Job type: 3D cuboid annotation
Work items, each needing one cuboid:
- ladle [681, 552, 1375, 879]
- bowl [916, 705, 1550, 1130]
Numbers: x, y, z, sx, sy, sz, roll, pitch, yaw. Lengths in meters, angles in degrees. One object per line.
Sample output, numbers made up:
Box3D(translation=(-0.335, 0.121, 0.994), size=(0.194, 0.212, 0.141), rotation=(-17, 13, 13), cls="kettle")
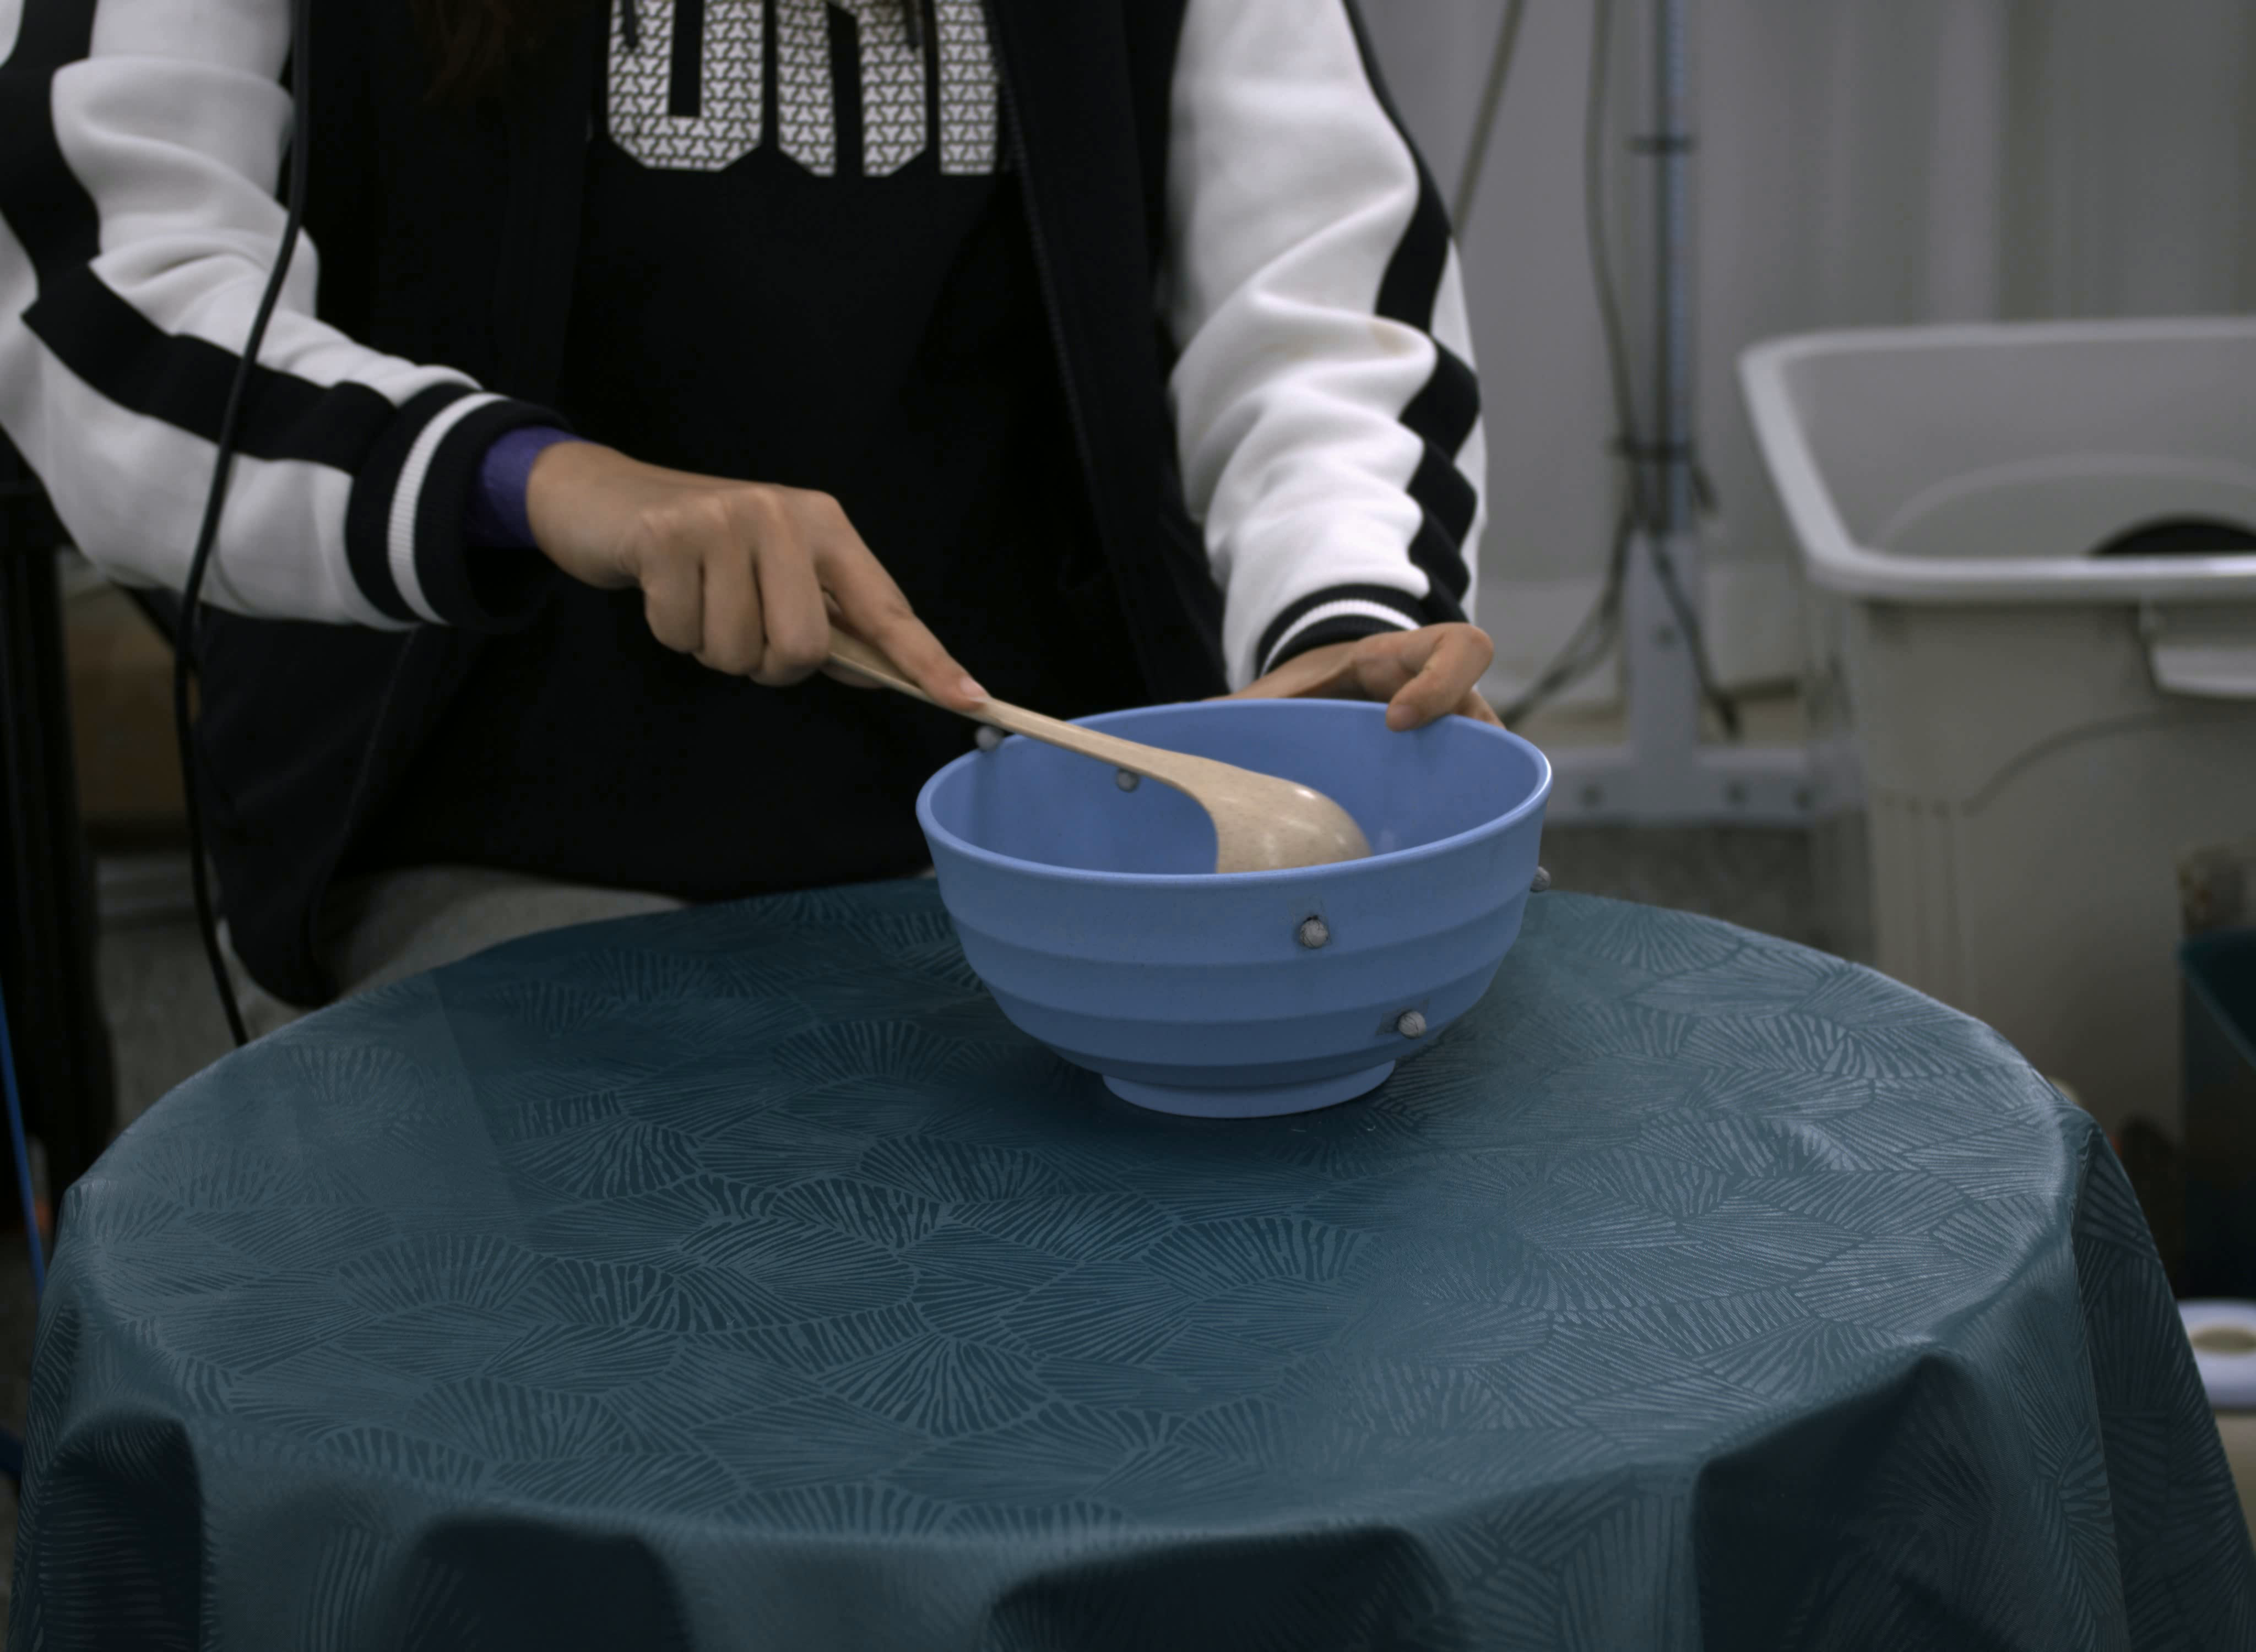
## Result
Box3D(translation=(-0.038, -0.011, 1.699), size=(0.258, 0.073, 0.071), rotation=(22, 34, 21), cls="ladle")
Box3D(translation=(0.035, 0.034, 1.647), size=(0.195, 0.095, 0.197), rotation=(-5, 16, 0), cls="bowl")
